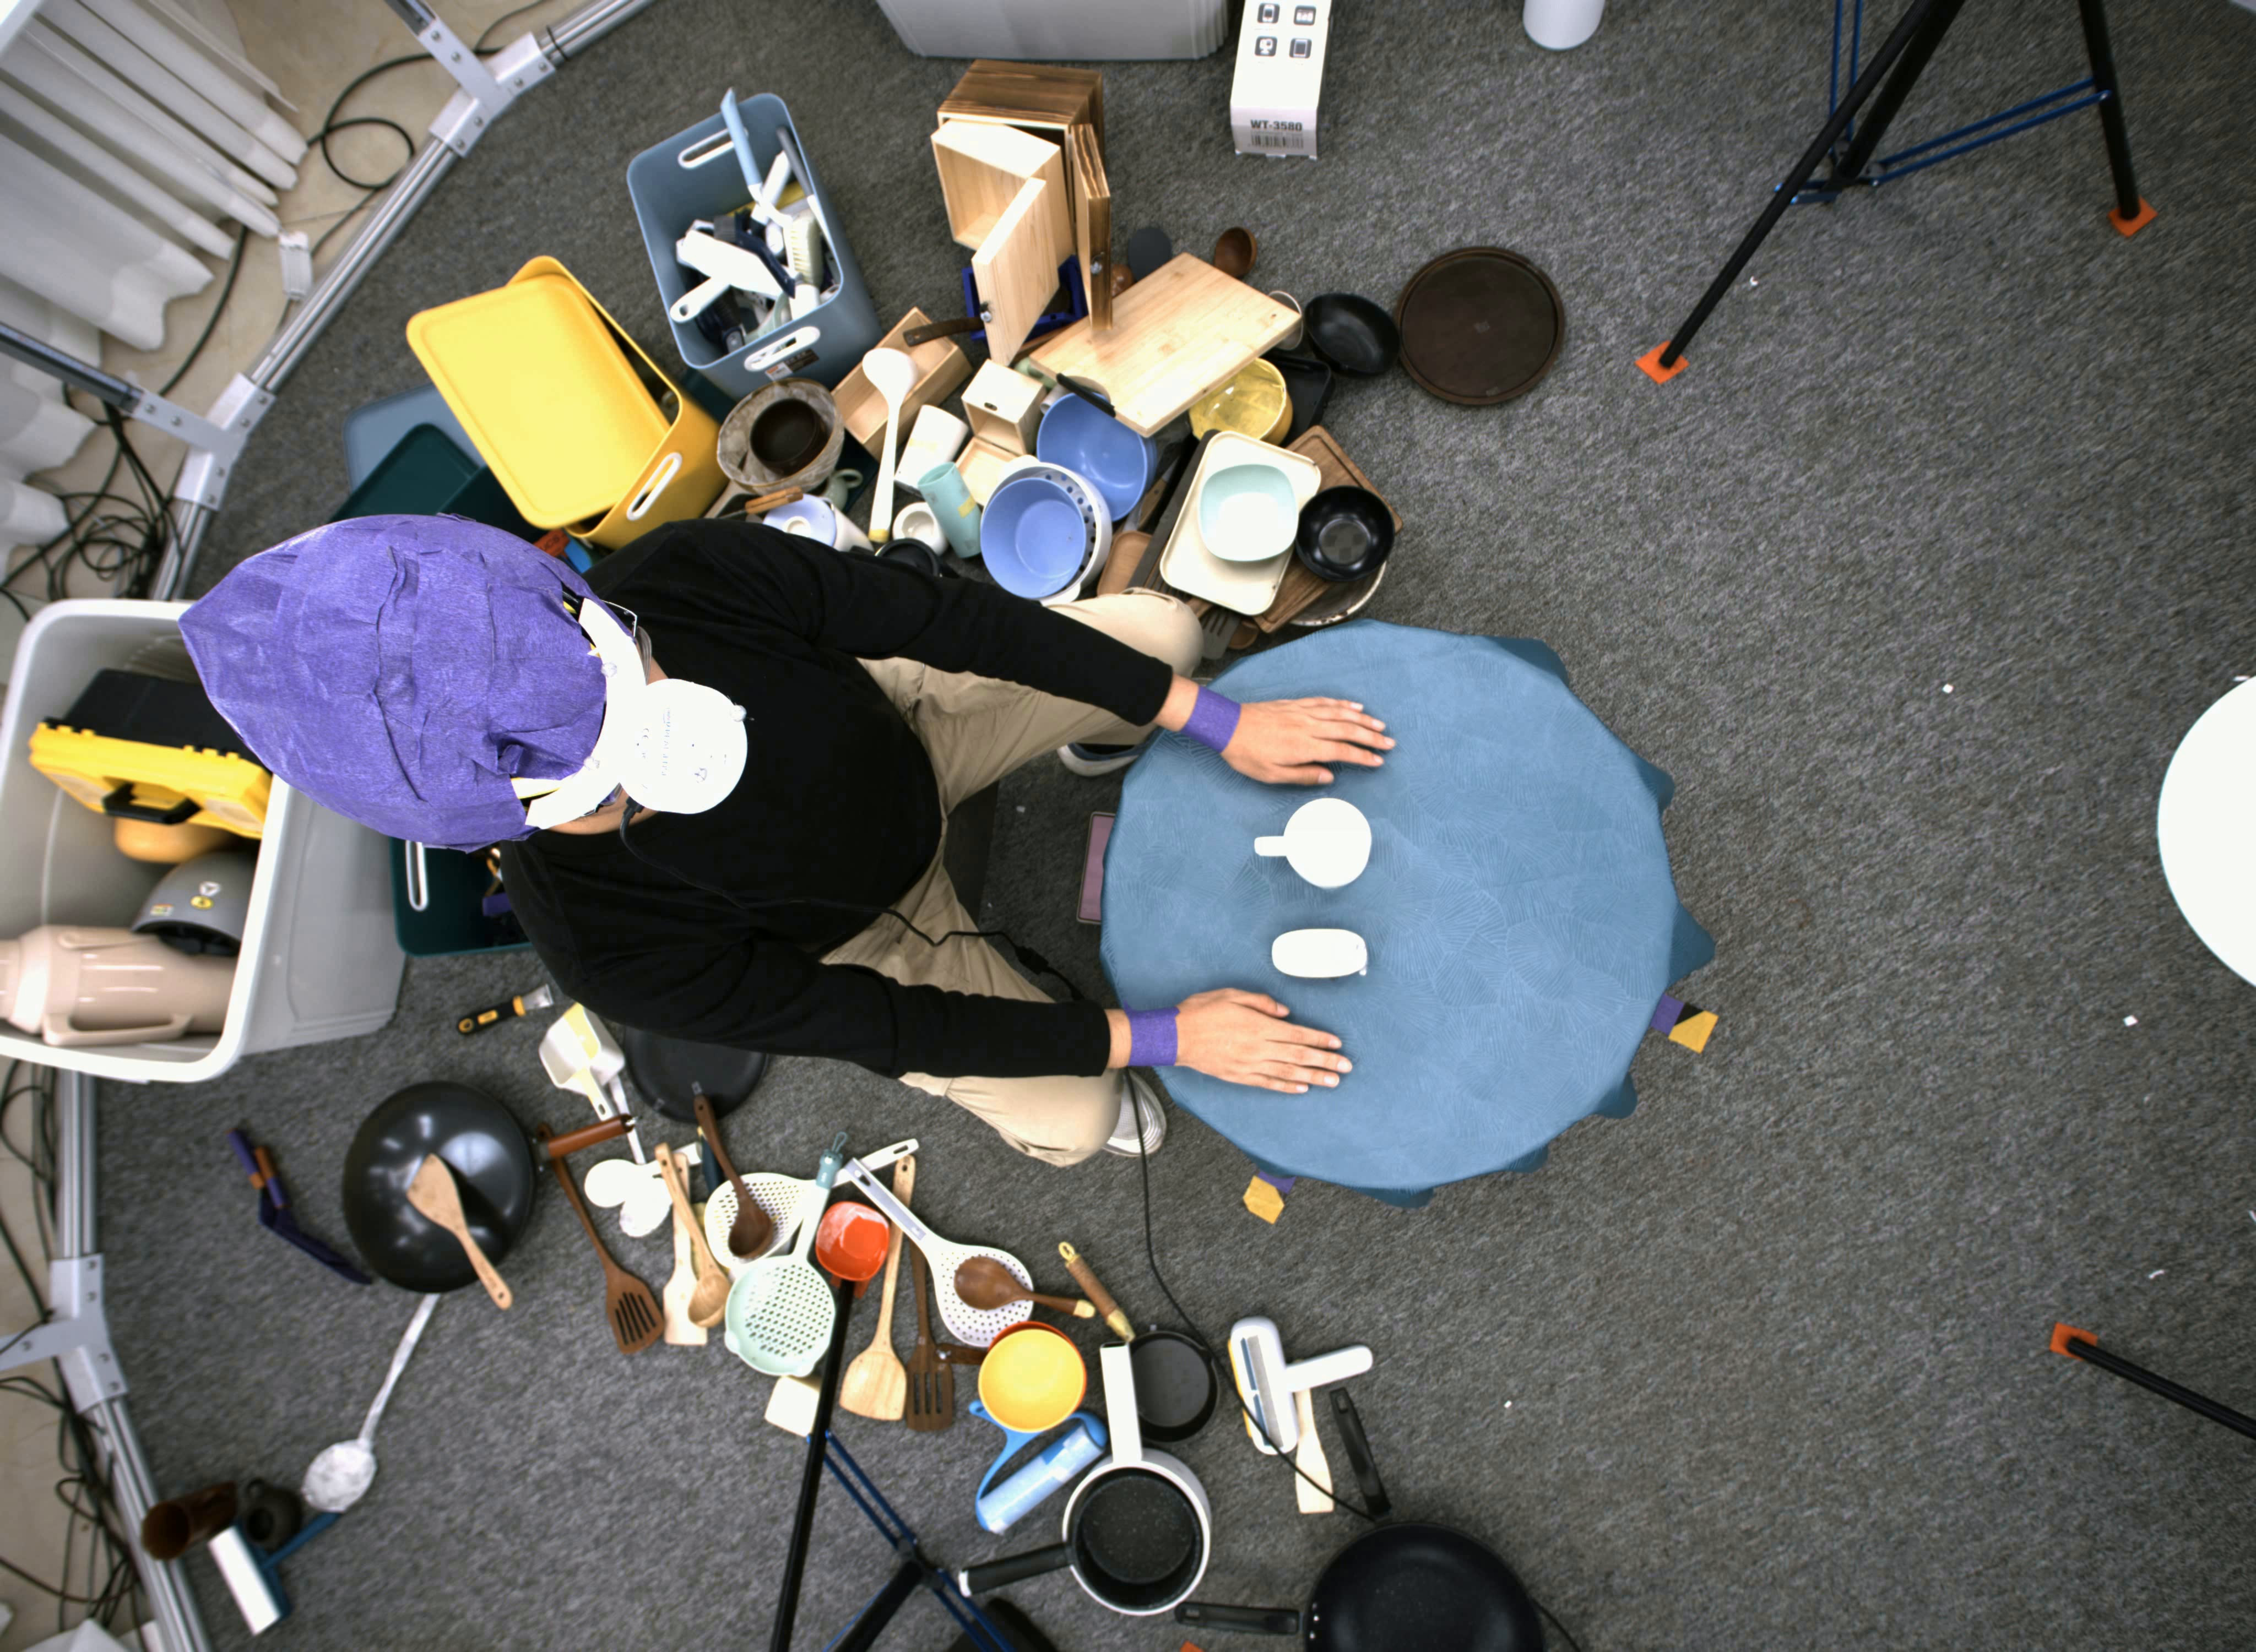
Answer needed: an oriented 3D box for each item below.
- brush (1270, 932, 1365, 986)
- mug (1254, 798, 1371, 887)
[{"bbox_3d":[0.196,0.135,1.431,0.099,0.073,0.050,-9,78,4],"label":"brush"},{"bbox_3d":[0.190,0.019,1.423,0.119,0.102,0.084,-3,85,10],"label":"mug"}]
